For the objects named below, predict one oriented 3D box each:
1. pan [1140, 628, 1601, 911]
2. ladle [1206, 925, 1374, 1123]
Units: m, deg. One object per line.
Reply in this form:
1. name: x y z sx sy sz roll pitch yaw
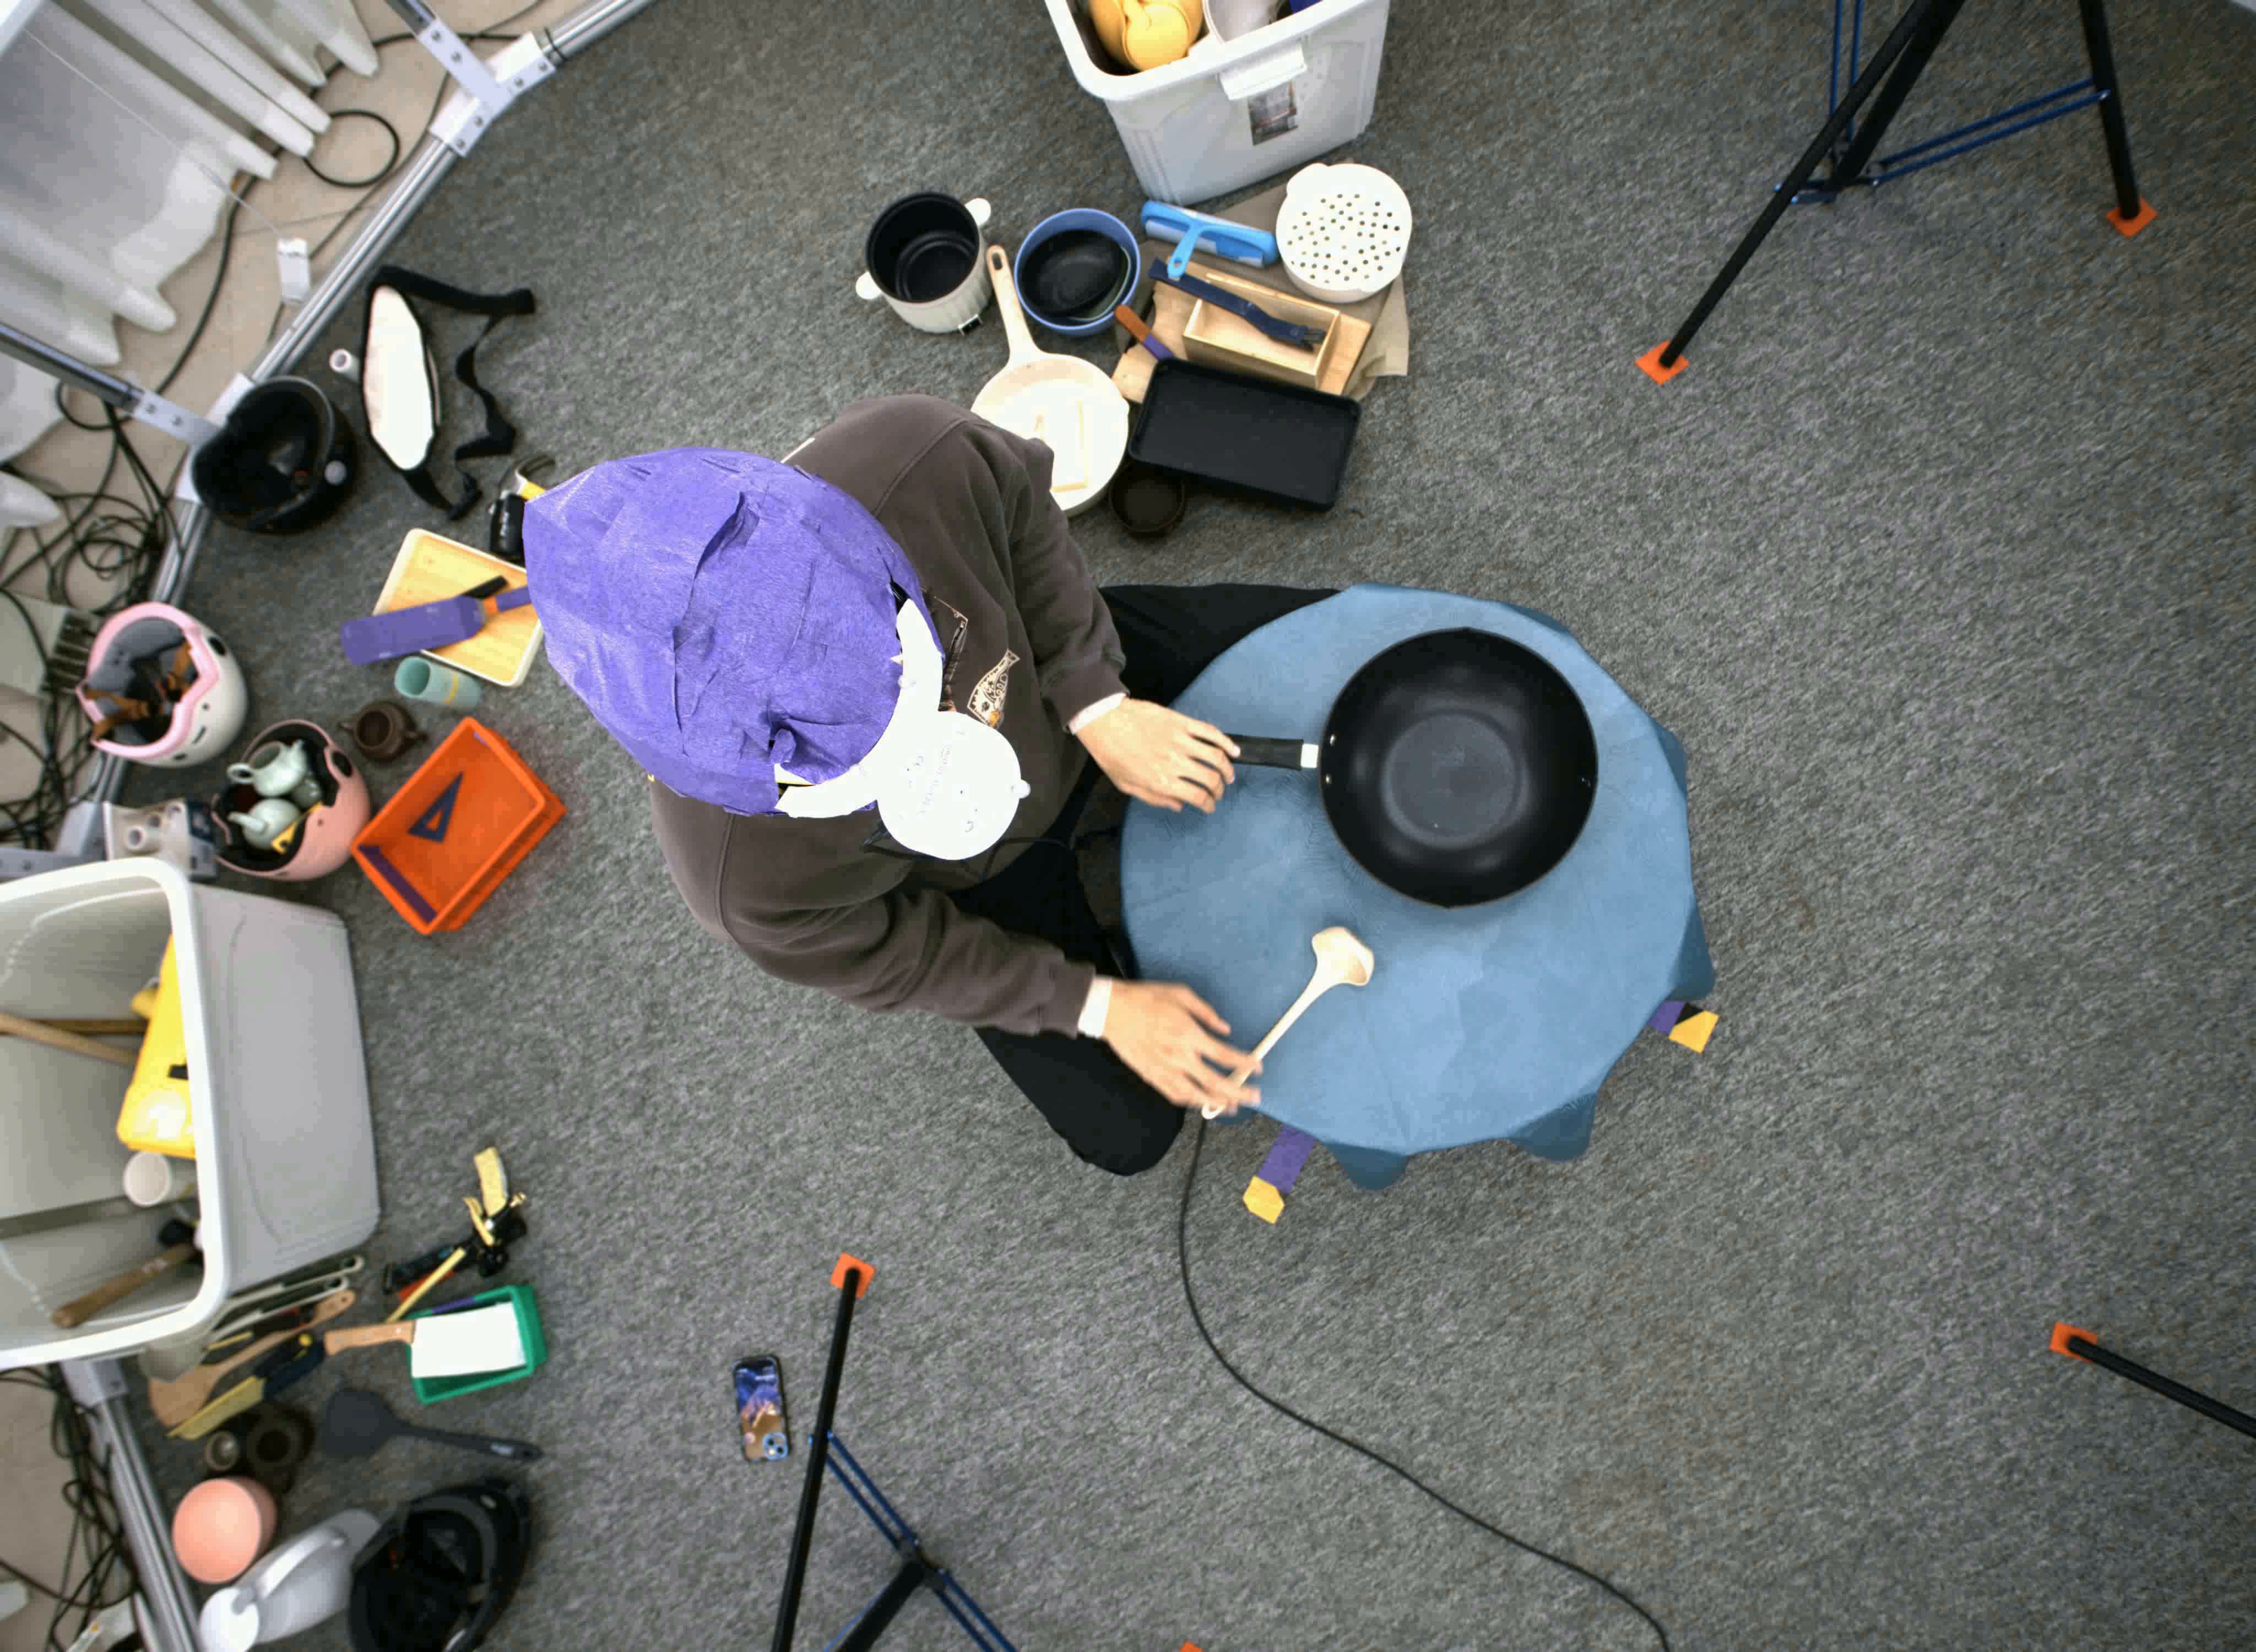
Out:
1. pan: 0.245 -0.065 1.427 0.465 0.087 0.287 5 88 12
2. ladle: 0.159 0.213 1.438 0.072 0.072 0.255 38 95 7
